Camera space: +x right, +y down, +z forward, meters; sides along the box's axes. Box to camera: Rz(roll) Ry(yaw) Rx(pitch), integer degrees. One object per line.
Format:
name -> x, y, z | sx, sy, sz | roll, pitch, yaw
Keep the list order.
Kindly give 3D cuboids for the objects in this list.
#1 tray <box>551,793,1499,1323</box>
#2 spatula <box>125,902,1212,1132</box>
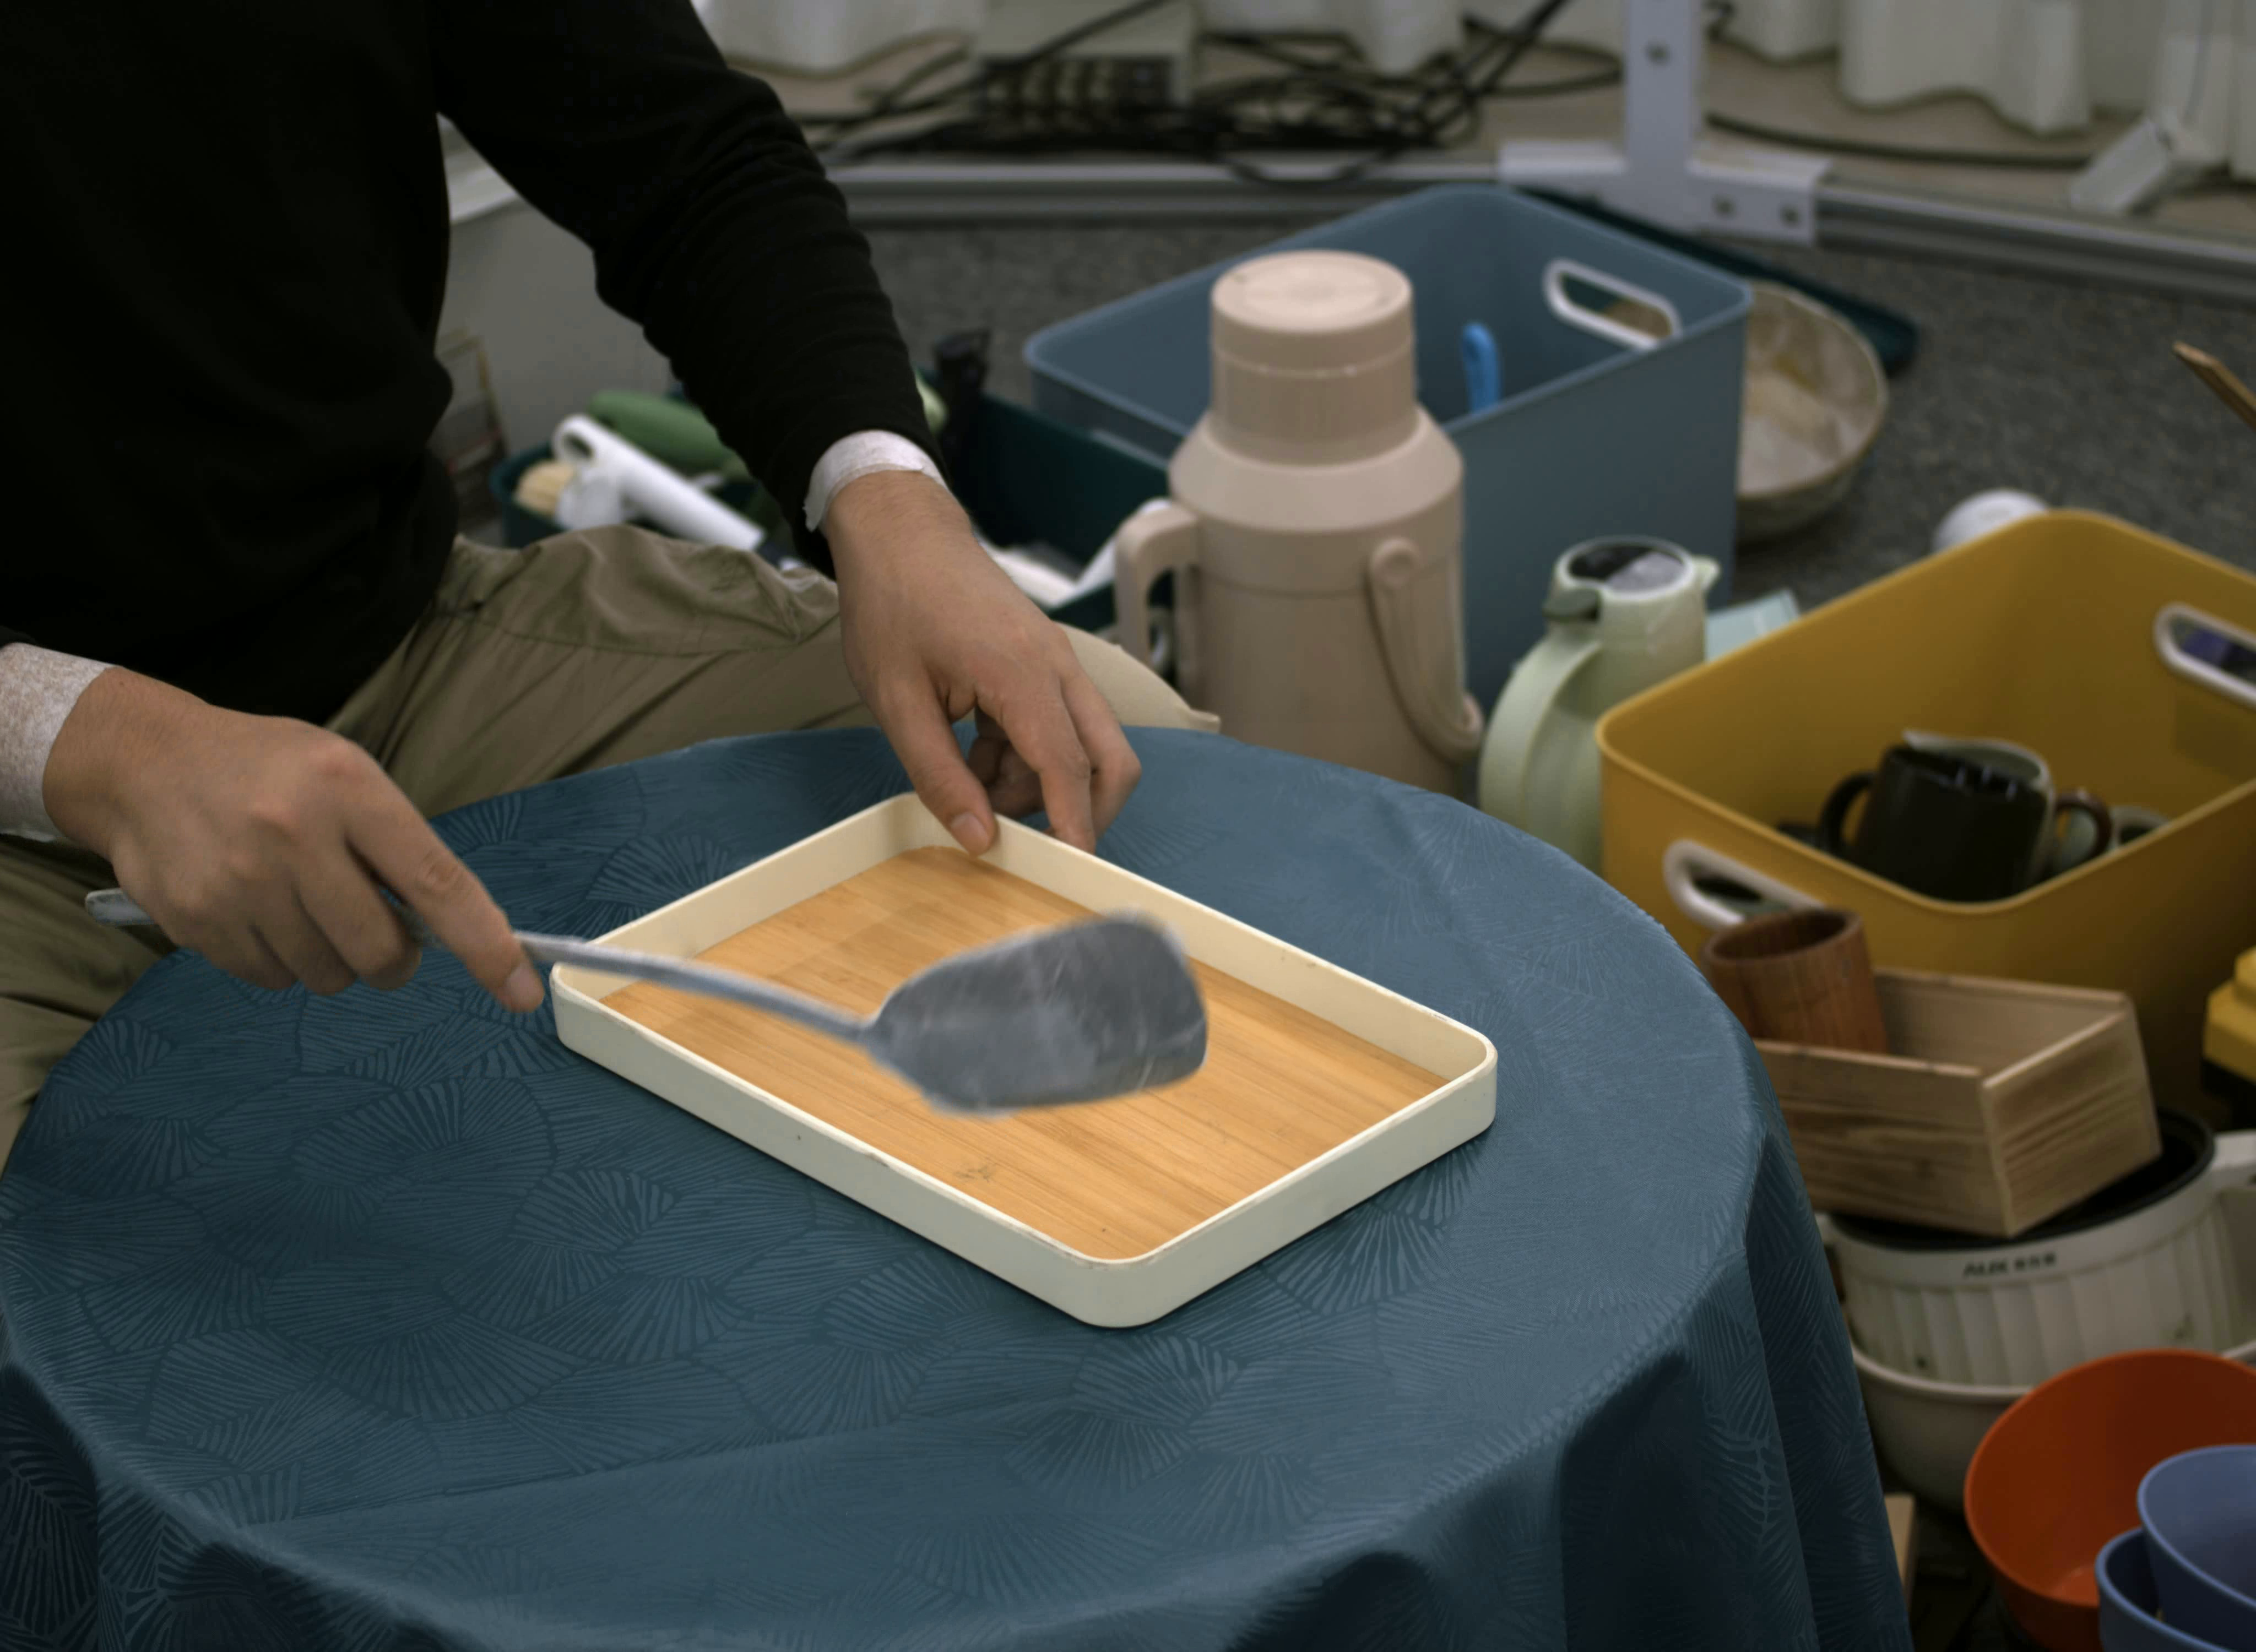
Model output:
tray -> -0.038, 0.074, 1.927 | 0.194, 0.027, 0.300 | -26, 35, -37
spatula -> -0.152, 0.047, 1.773 | 0.362, 0.097, 0.045 | 10, 58, 18
